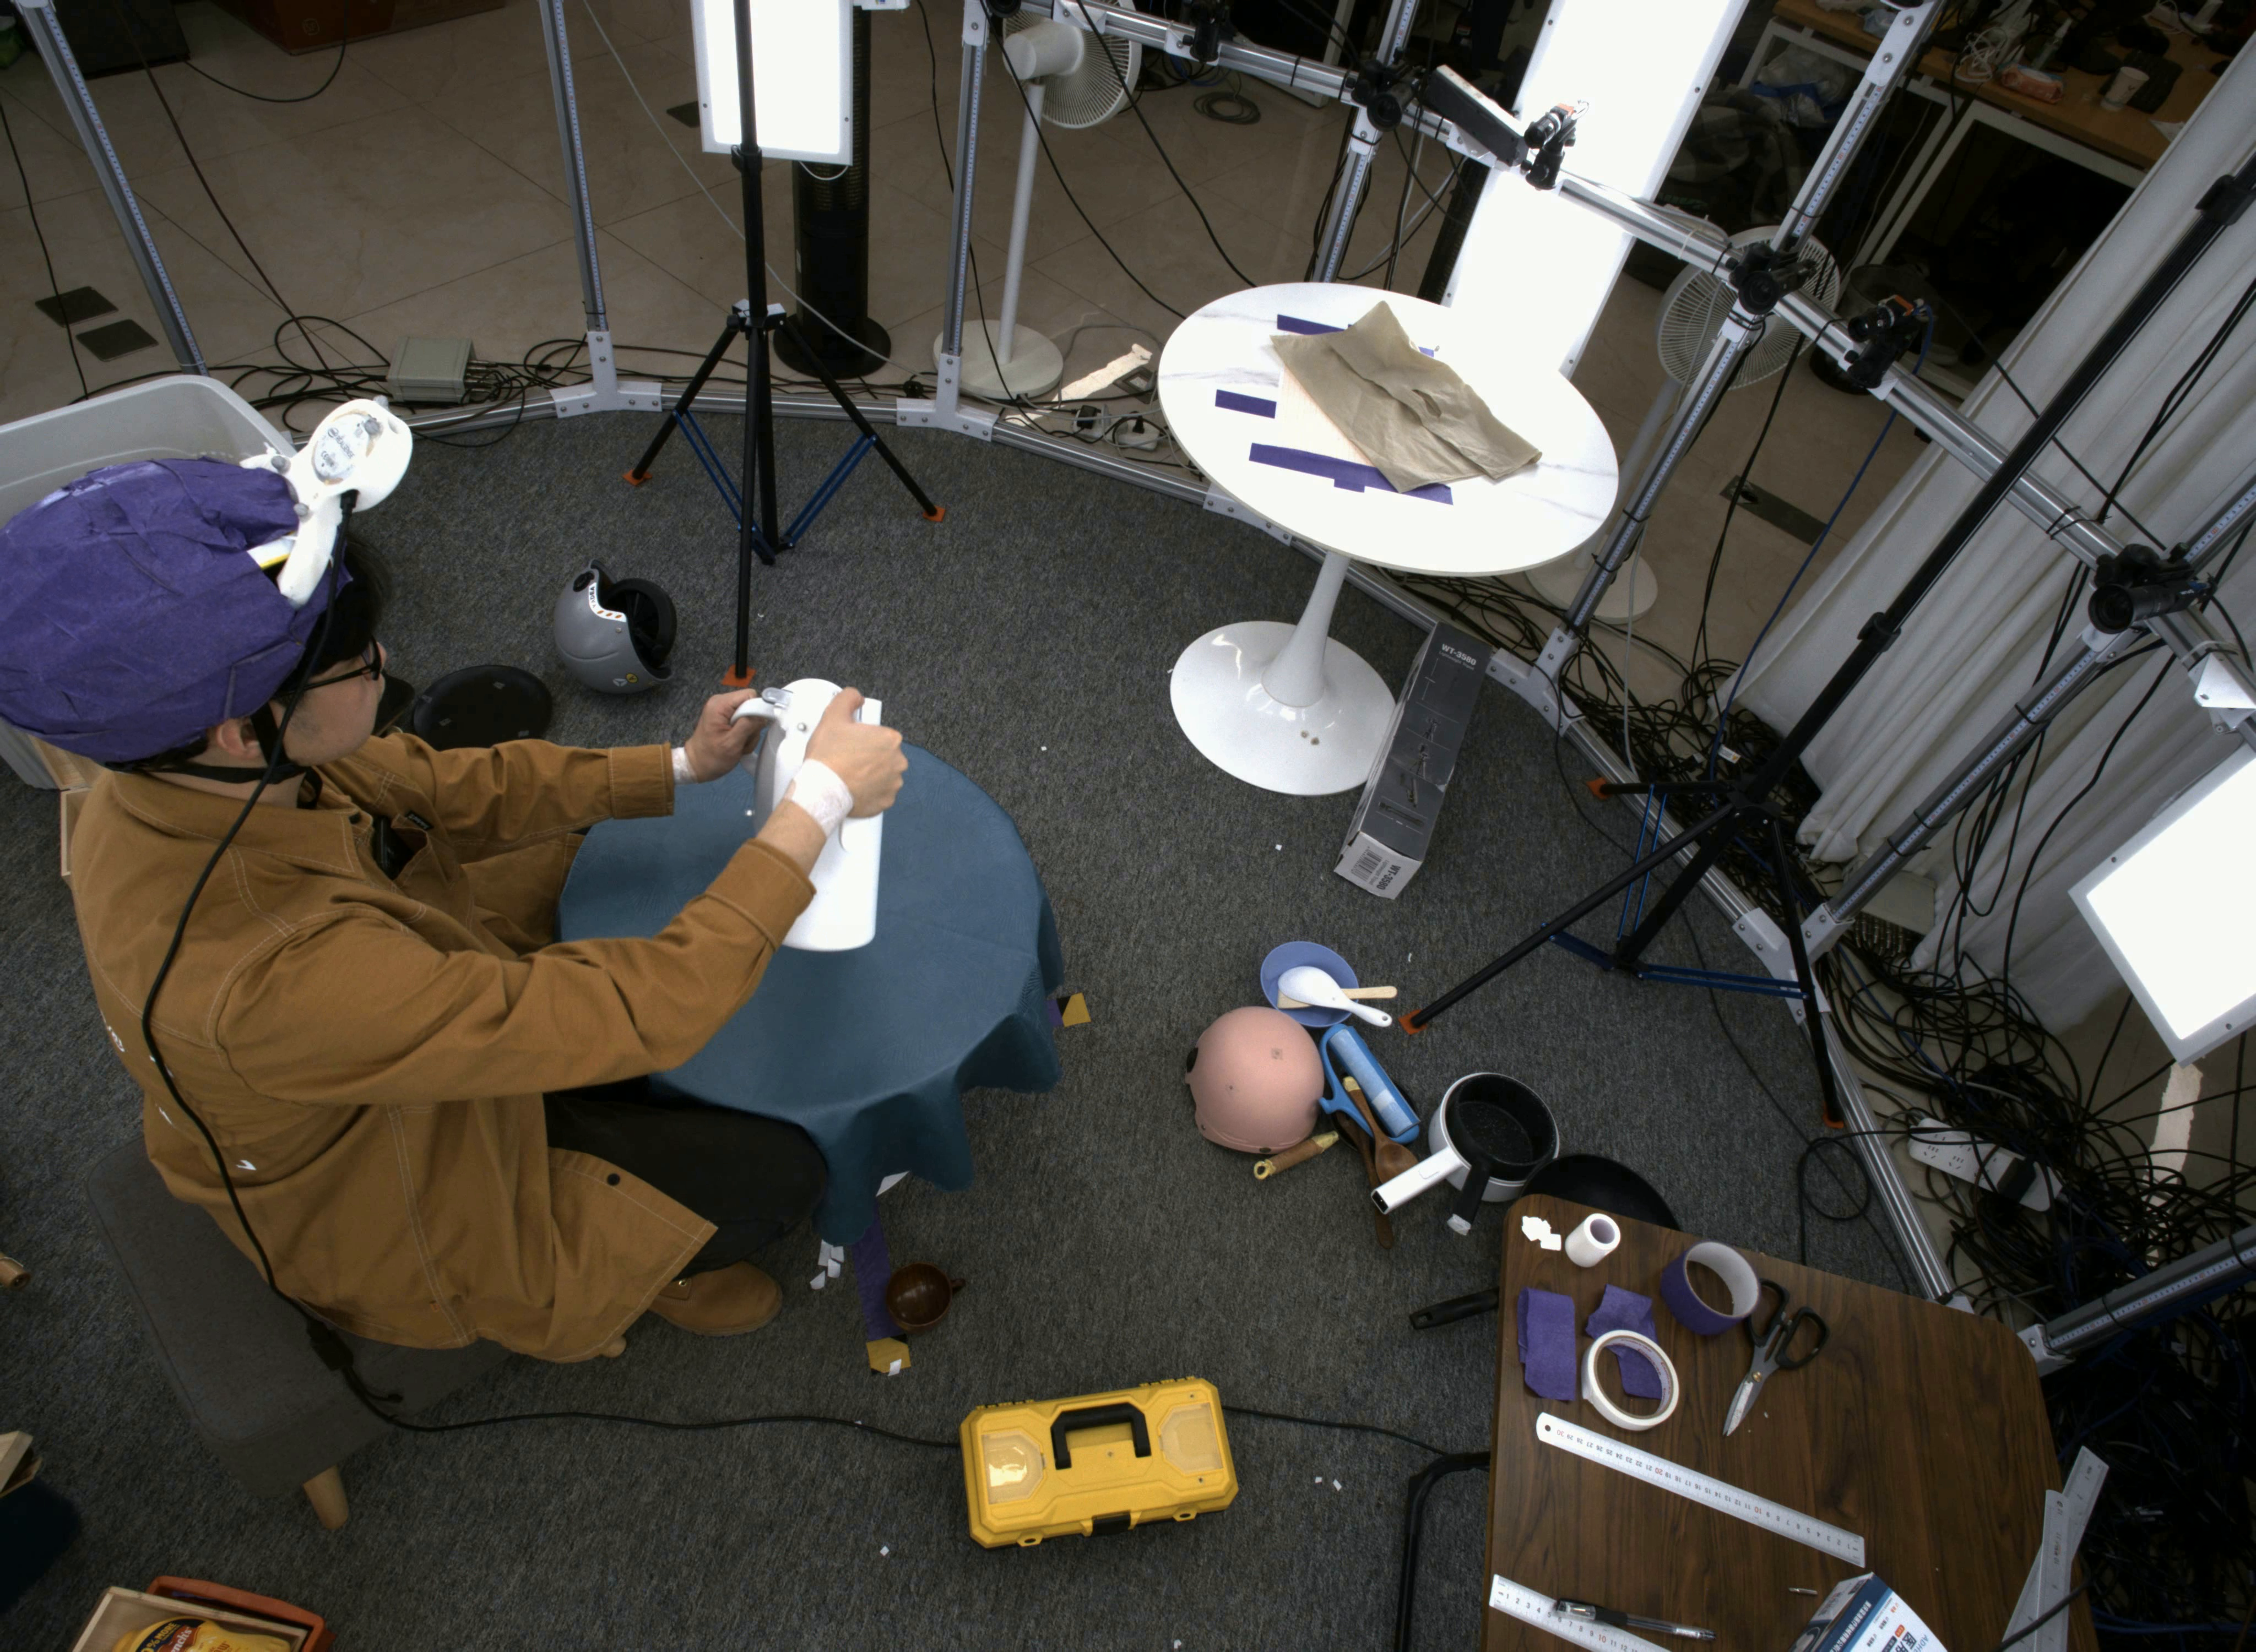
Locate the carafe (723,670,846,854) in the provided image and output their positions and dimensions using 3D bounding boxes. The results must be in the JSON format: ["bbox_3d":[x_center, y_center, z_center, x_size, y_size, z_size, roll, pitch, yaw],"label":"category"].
[{"bbox_3d":[-0.408,-0.082,1.567,0.167,0.252,0.131,18,54,-3],"label":"carafe"}]

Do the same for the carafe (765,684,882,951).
[{"bbox_3d":[-0.315,-0.008,1.368,0.126,0.274,0.167,1,11,-30],"label":"carafe"}]
